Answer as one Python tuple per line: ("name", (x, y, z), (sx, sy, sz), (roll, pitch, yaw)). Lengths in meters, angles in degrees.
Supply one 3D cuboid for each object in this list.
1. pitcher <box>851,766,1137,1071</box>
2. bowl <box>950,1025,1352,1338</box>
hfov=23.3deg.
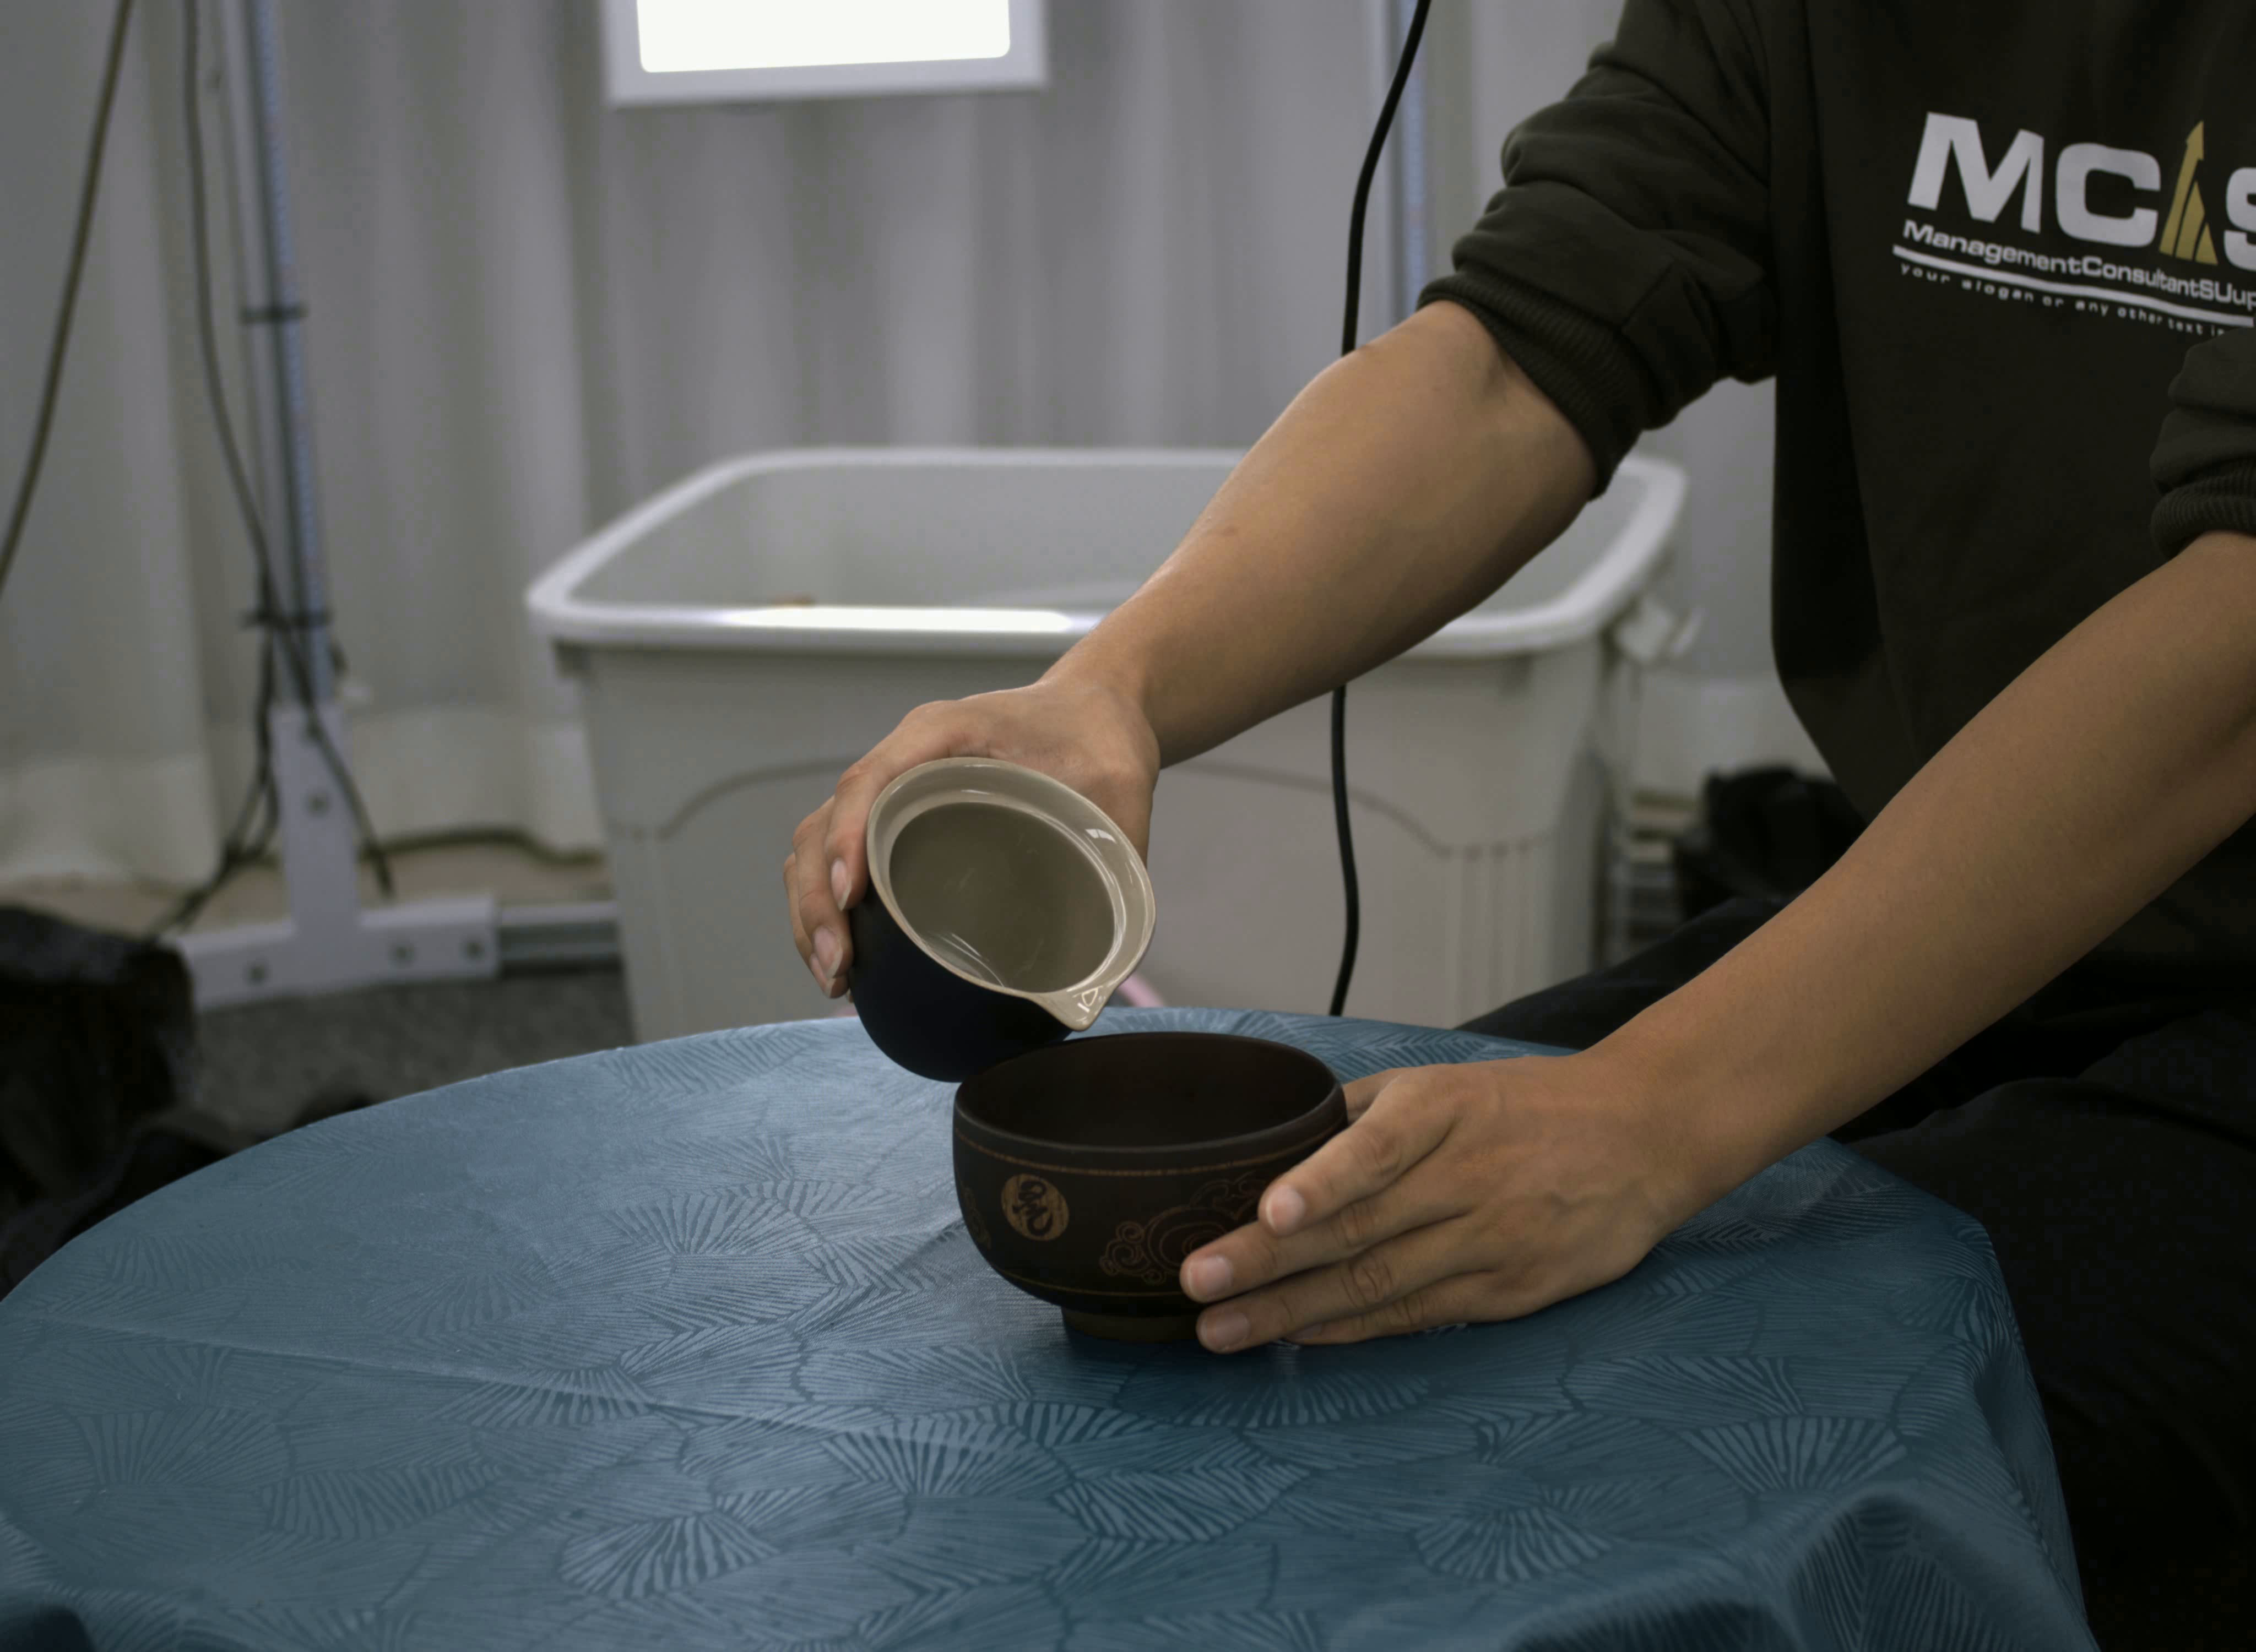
("pitcher", (-0.044, 0.037, 1.660), (0.083, 0.071, 0.097), (1, 51, -30))
("bowl", (0.008, 0.108, 1.604), (0.117, 0.069, 0.119), (-5, 15, 1))
